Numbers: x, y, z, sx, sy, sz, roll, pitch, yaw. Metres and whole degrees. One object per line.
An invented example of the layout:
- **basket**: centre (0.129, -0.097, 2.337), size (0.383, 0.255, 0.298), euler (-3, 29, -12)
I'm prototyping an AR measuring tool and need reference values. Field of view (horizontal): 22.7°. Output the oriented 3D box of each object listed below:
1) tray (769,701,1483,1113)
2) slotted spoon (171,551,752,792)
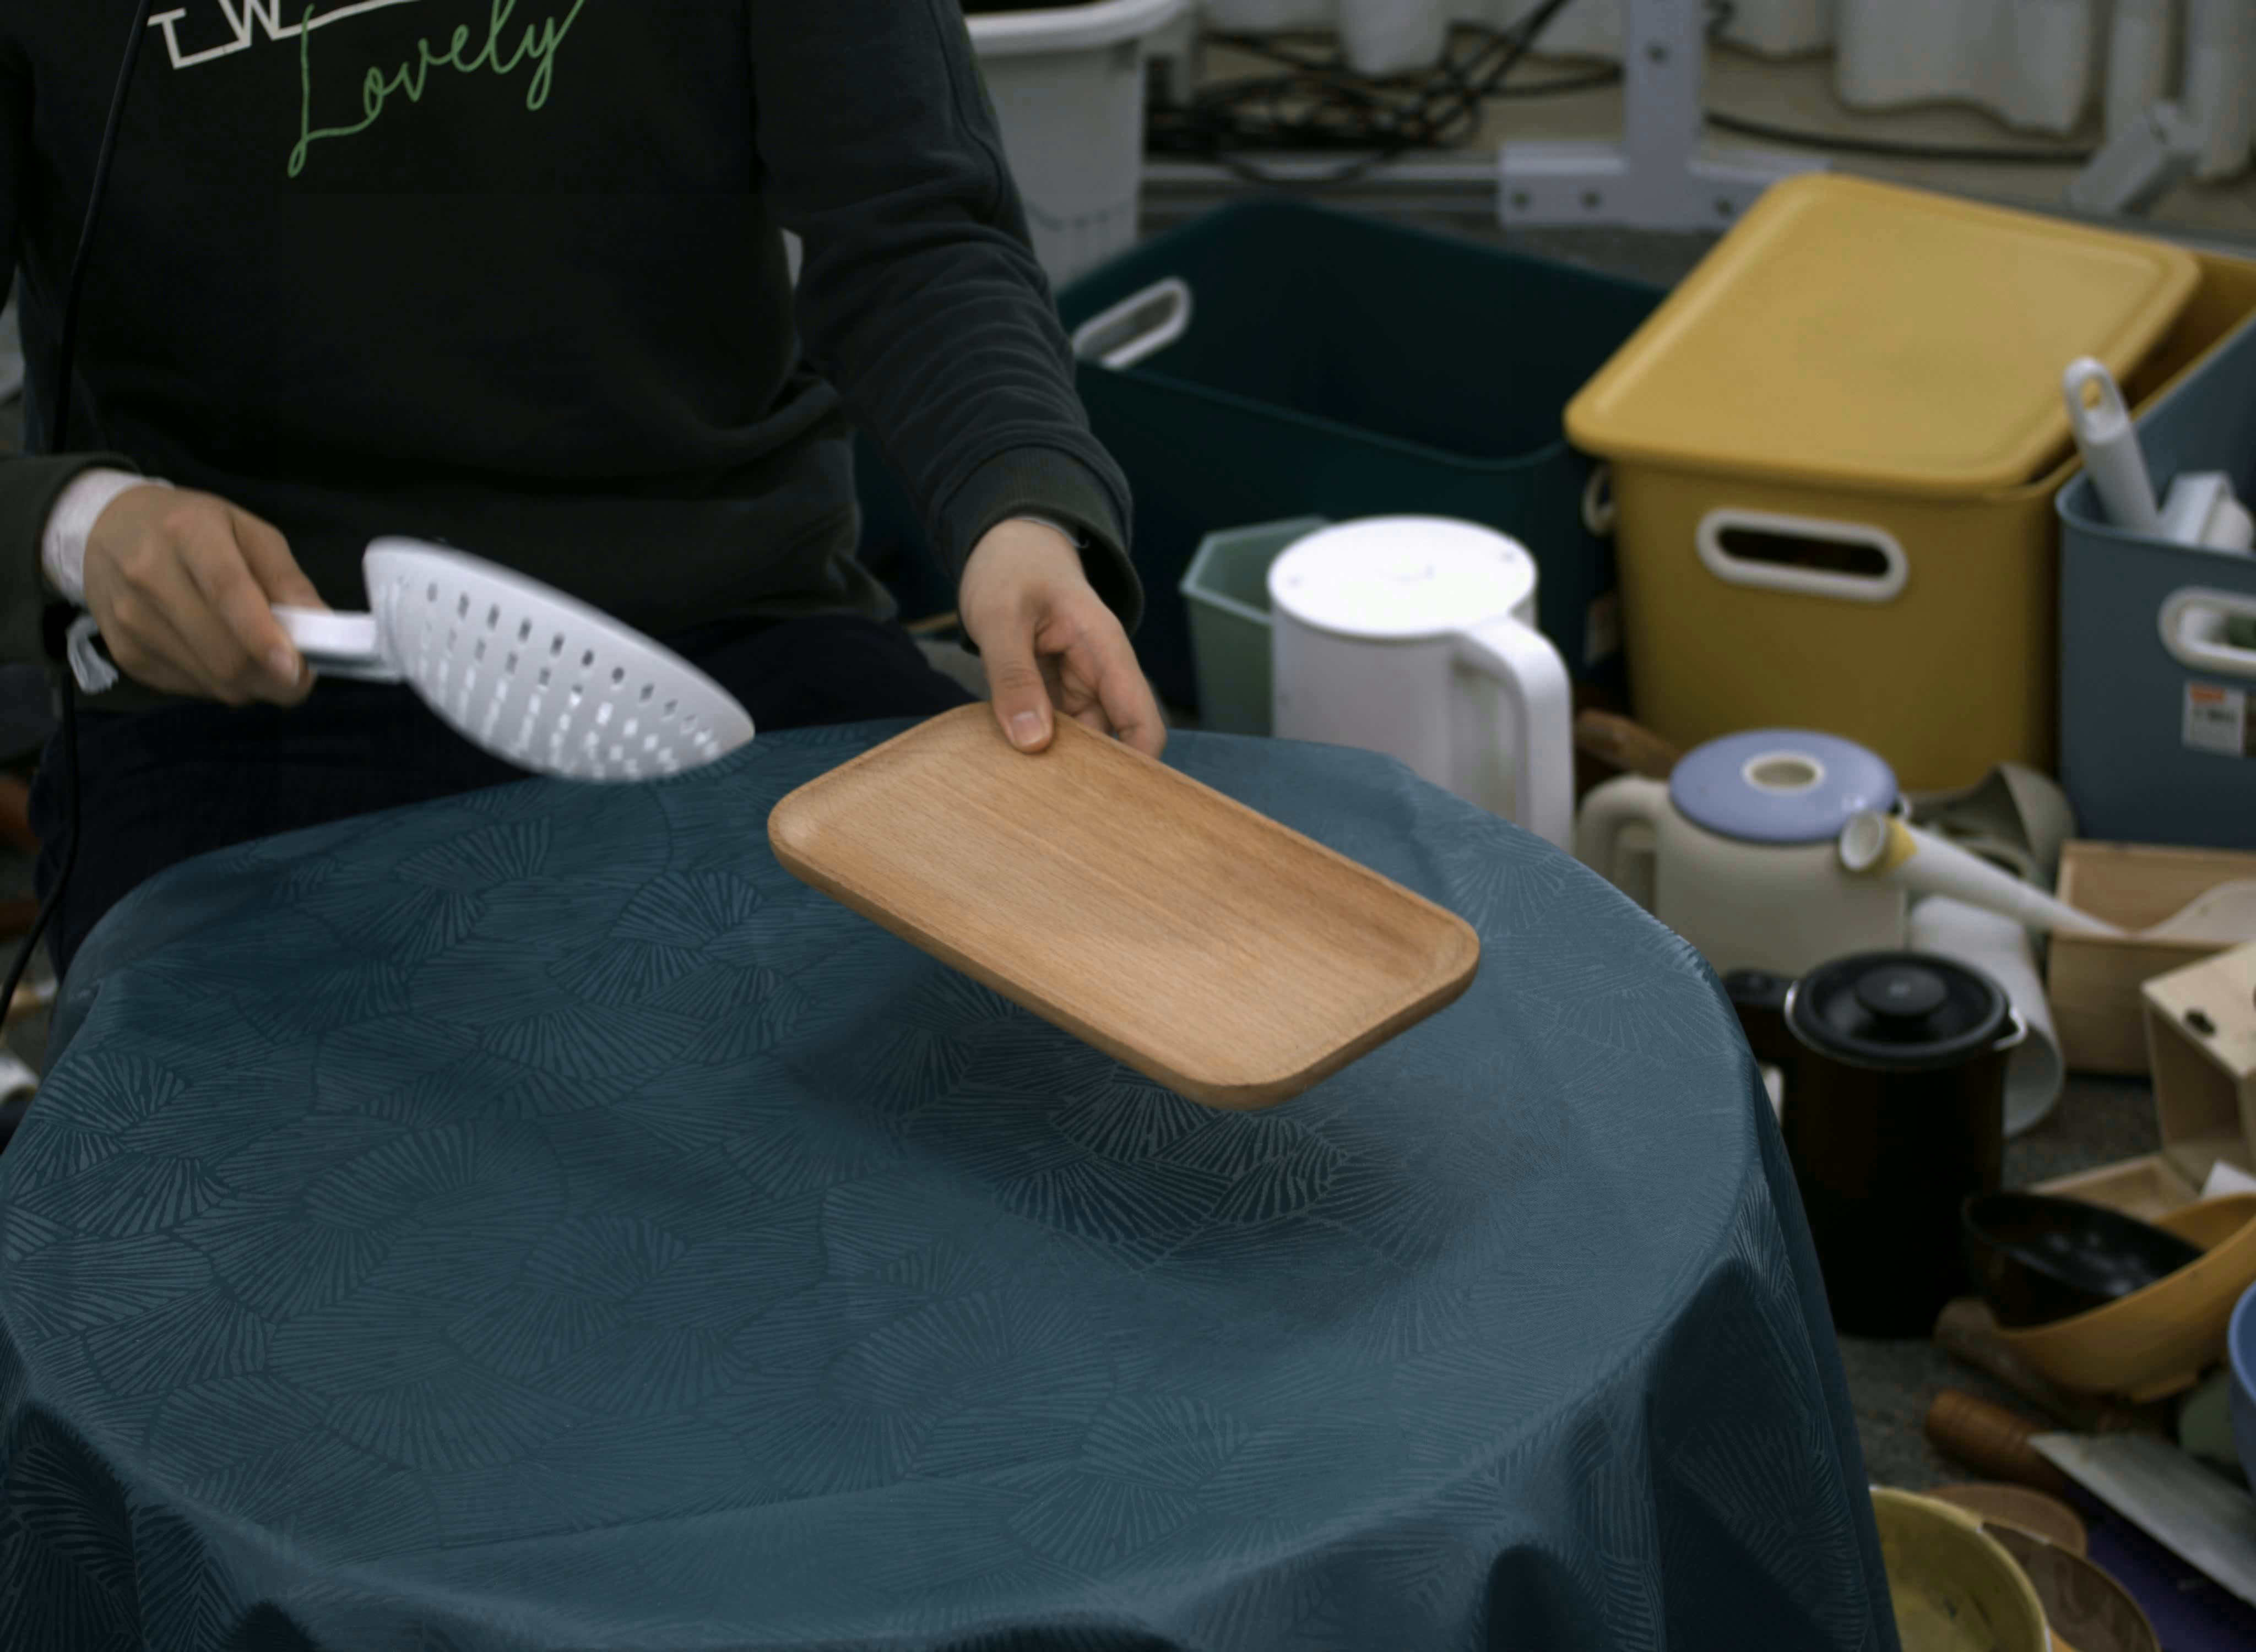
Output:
- **tray**: centre (-0.003, 0.025, 1.881), size (0.132, 0.022, 0.251), euler (-25, 37, -35)
- **slotted spoon**: centre (-0.242, -0.055, 1.880), size (0.135, 0.046, 0.348), euler (31, -8, -30)
